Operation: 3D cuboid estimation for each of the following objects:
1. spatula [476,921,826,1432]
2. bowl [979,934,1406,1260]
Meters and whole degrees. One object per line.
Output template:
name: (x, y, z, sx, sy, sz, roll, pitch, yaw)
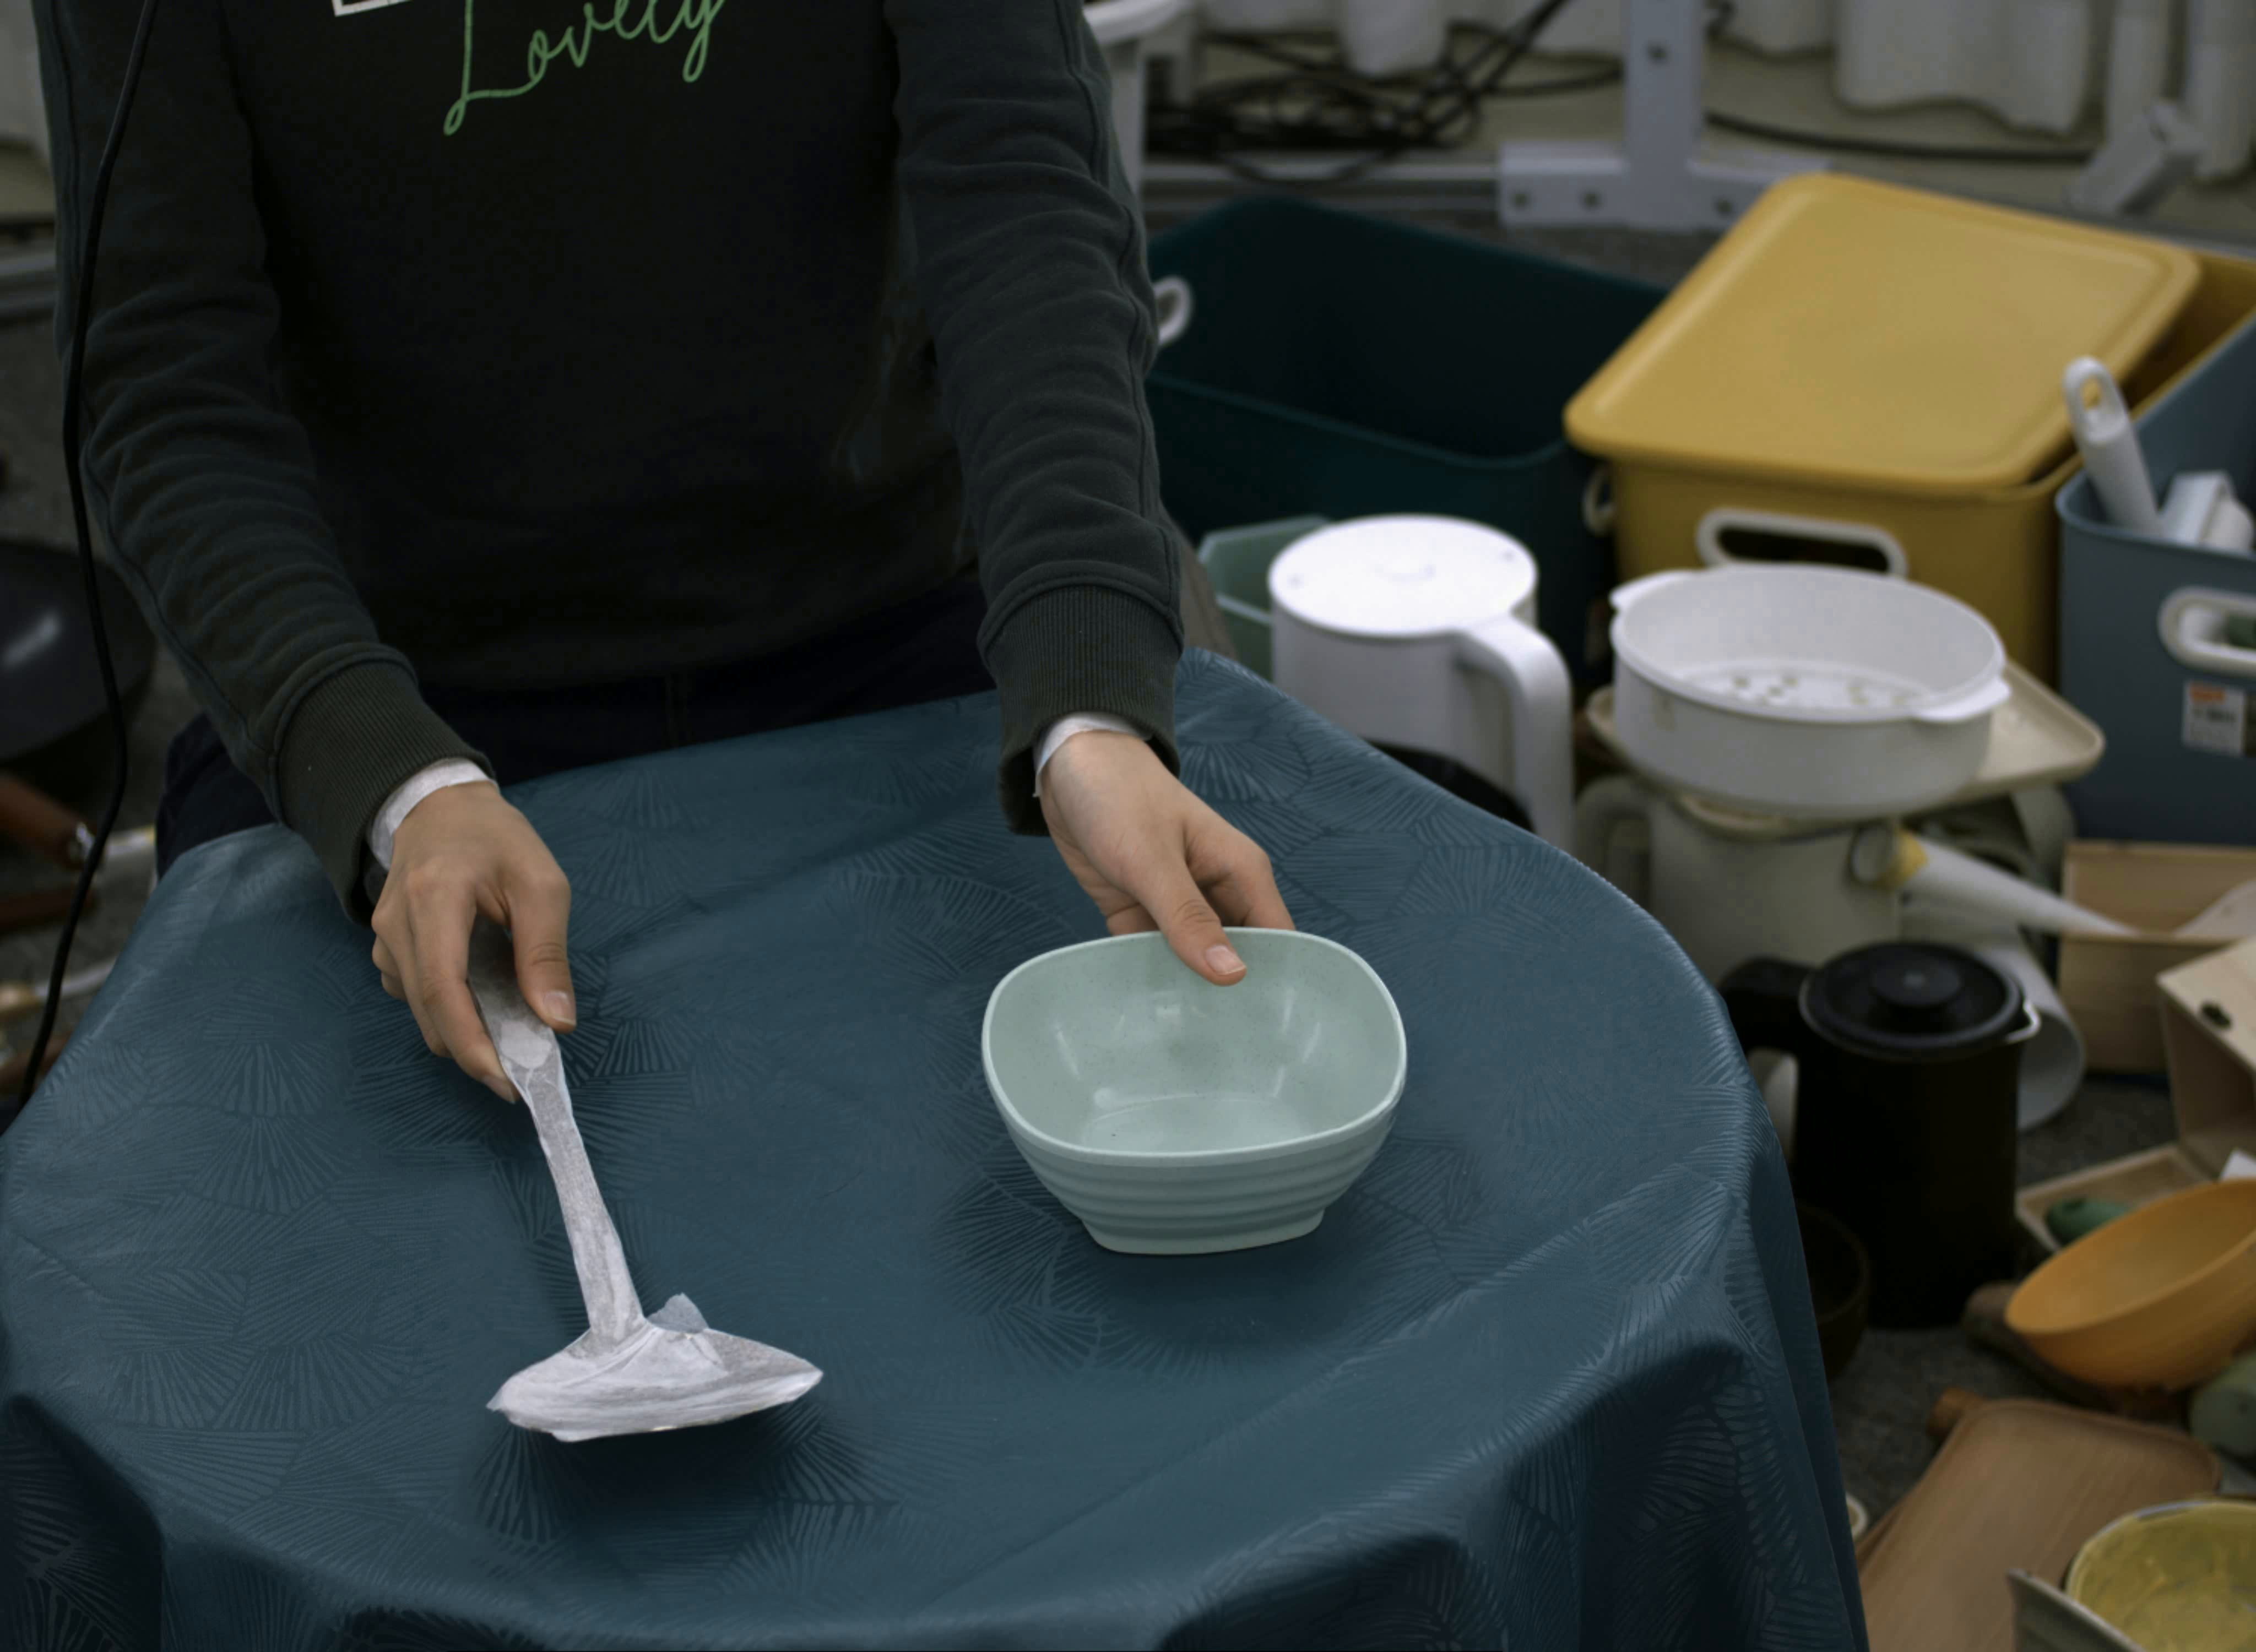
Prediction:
spatula: (-0.180, 0.106, 1.842, 0.099, 0.044, 0.369, -8, 31, -12)
bowl: (0.021, 0.096, 1.847, 0.151, 0.058, 0.154, 0, 29, 0)
